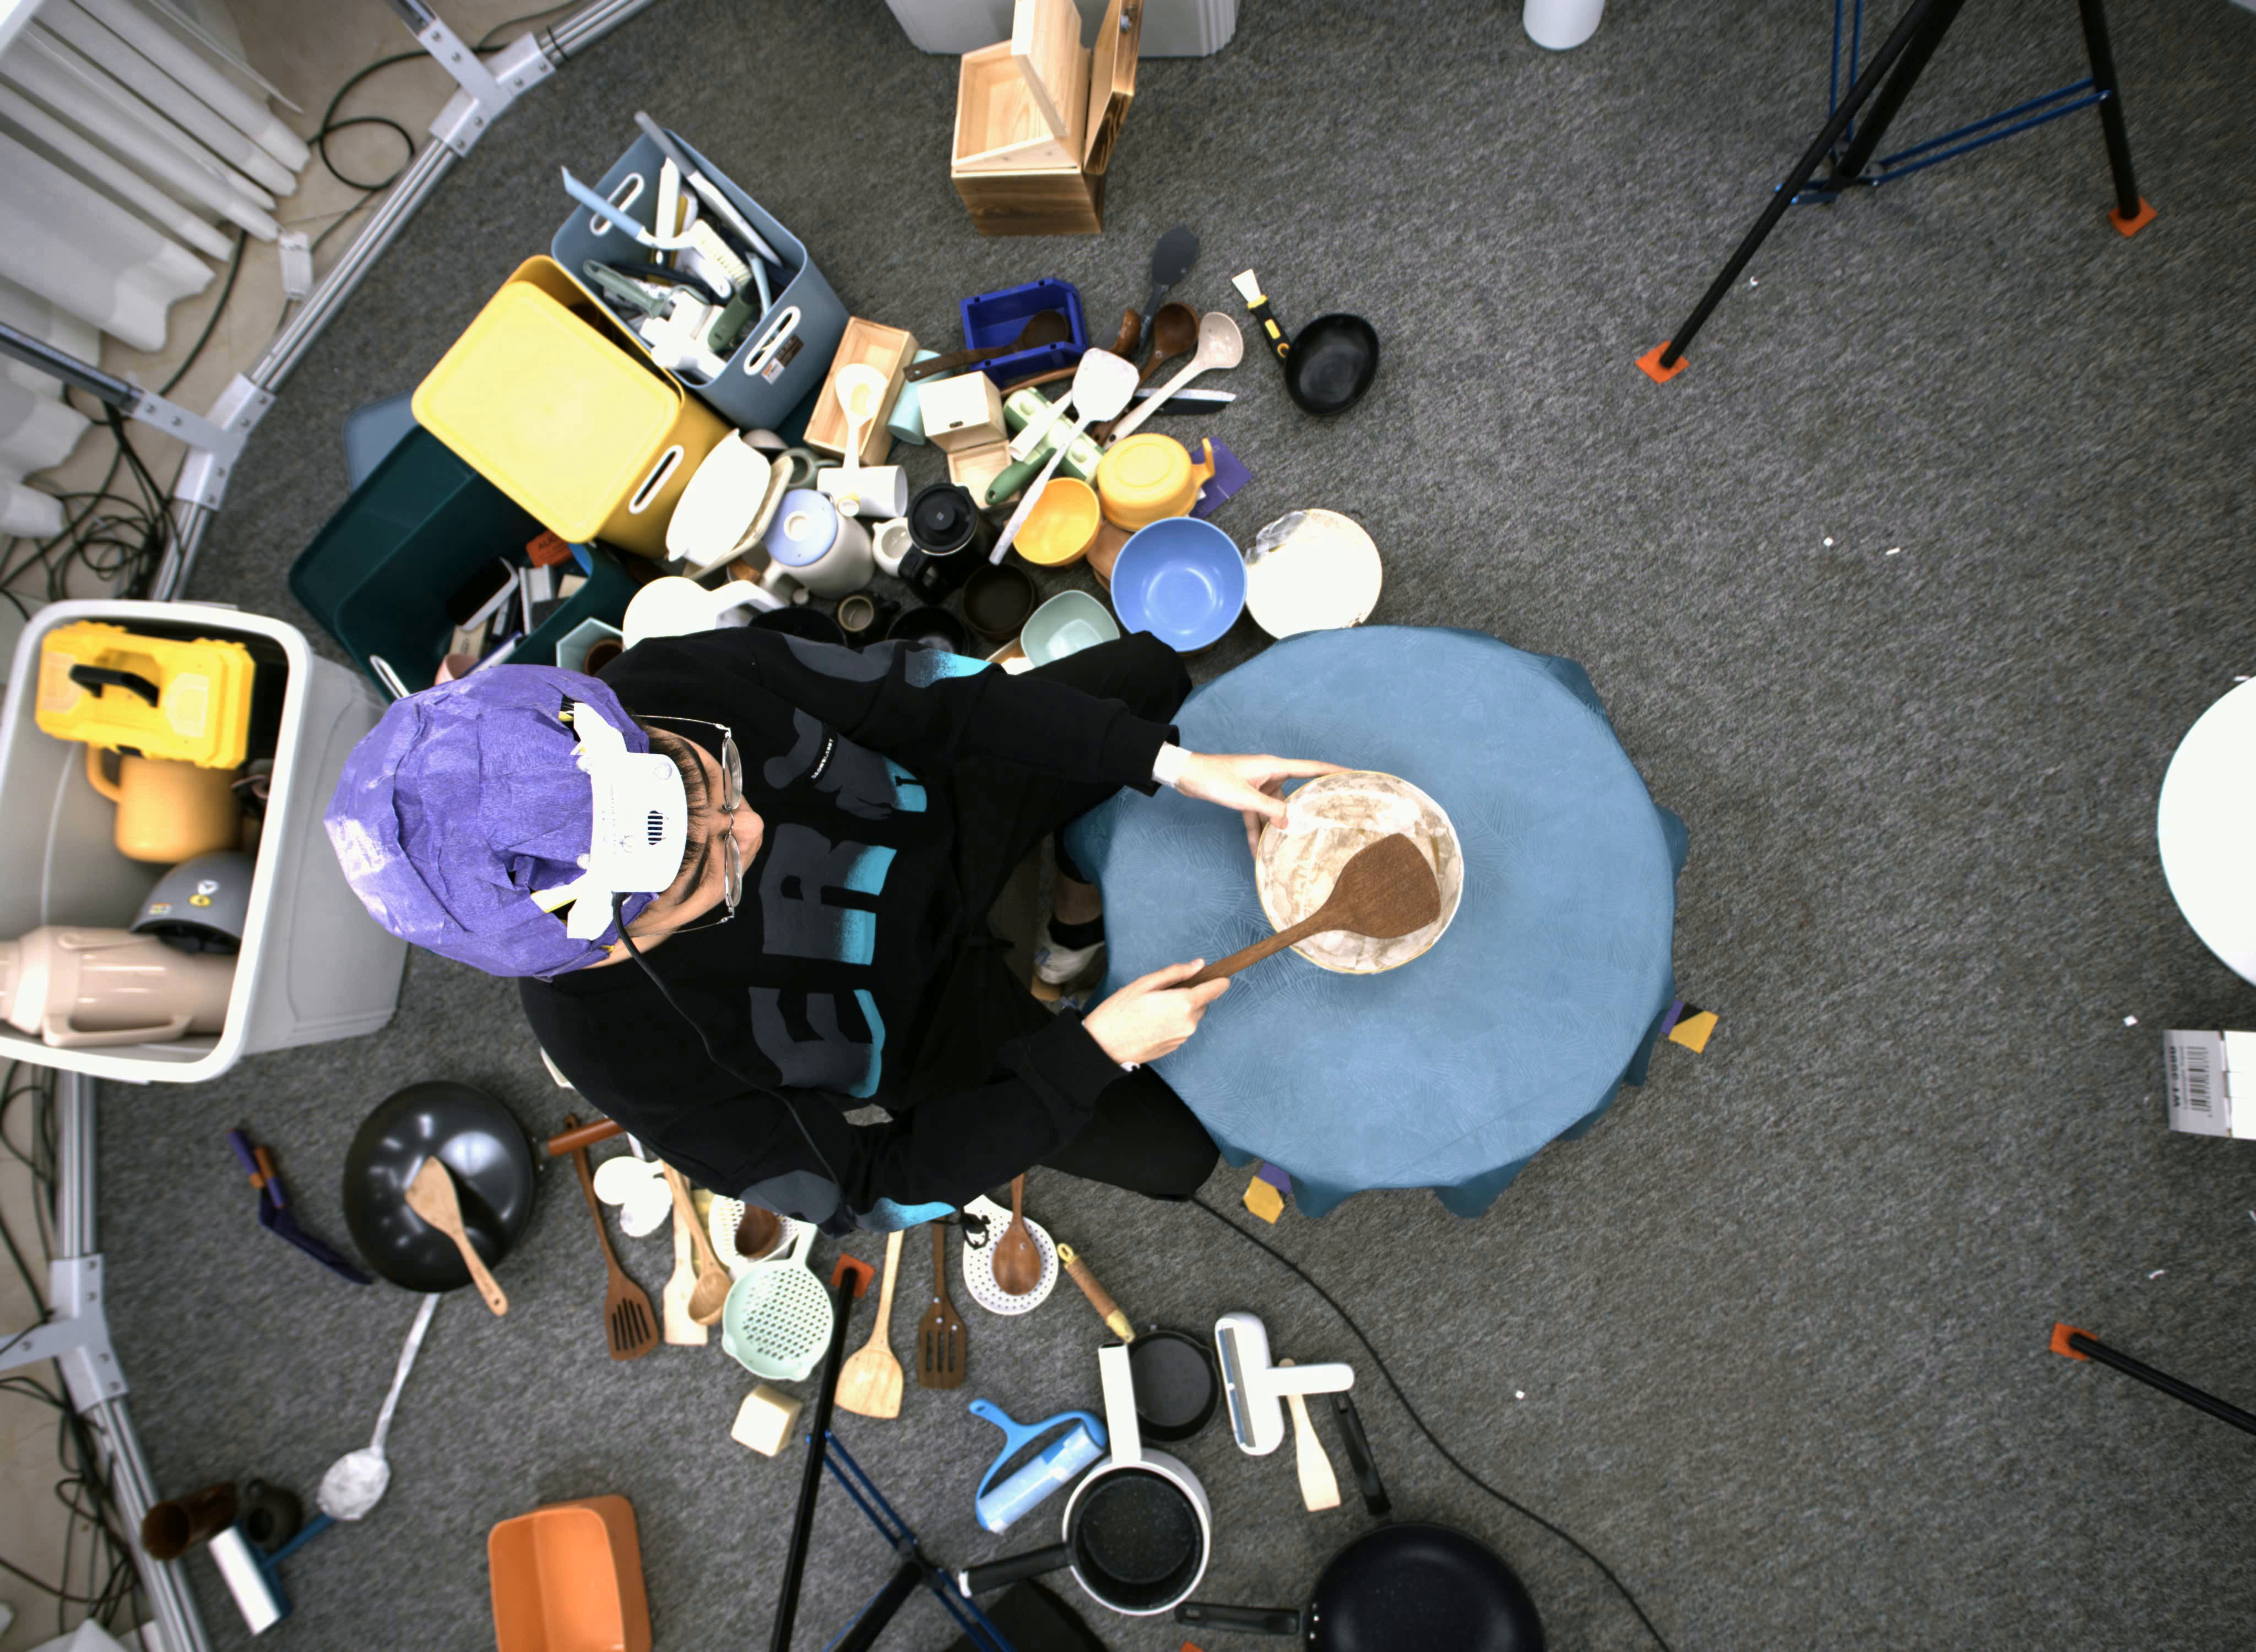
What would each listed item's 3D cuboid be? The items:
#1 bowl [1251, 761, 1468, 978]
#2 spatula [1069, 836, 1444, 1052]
[{"bbox_3d":[0.229,0.048,1.389,0.215,0.095,0.213,-1,85,5],"label":"bowl"},{"bbox_3d":[0.120,0.124,1.315,0.385,0.016,0.095,-25,85,-5],"label":"spatula"}]
